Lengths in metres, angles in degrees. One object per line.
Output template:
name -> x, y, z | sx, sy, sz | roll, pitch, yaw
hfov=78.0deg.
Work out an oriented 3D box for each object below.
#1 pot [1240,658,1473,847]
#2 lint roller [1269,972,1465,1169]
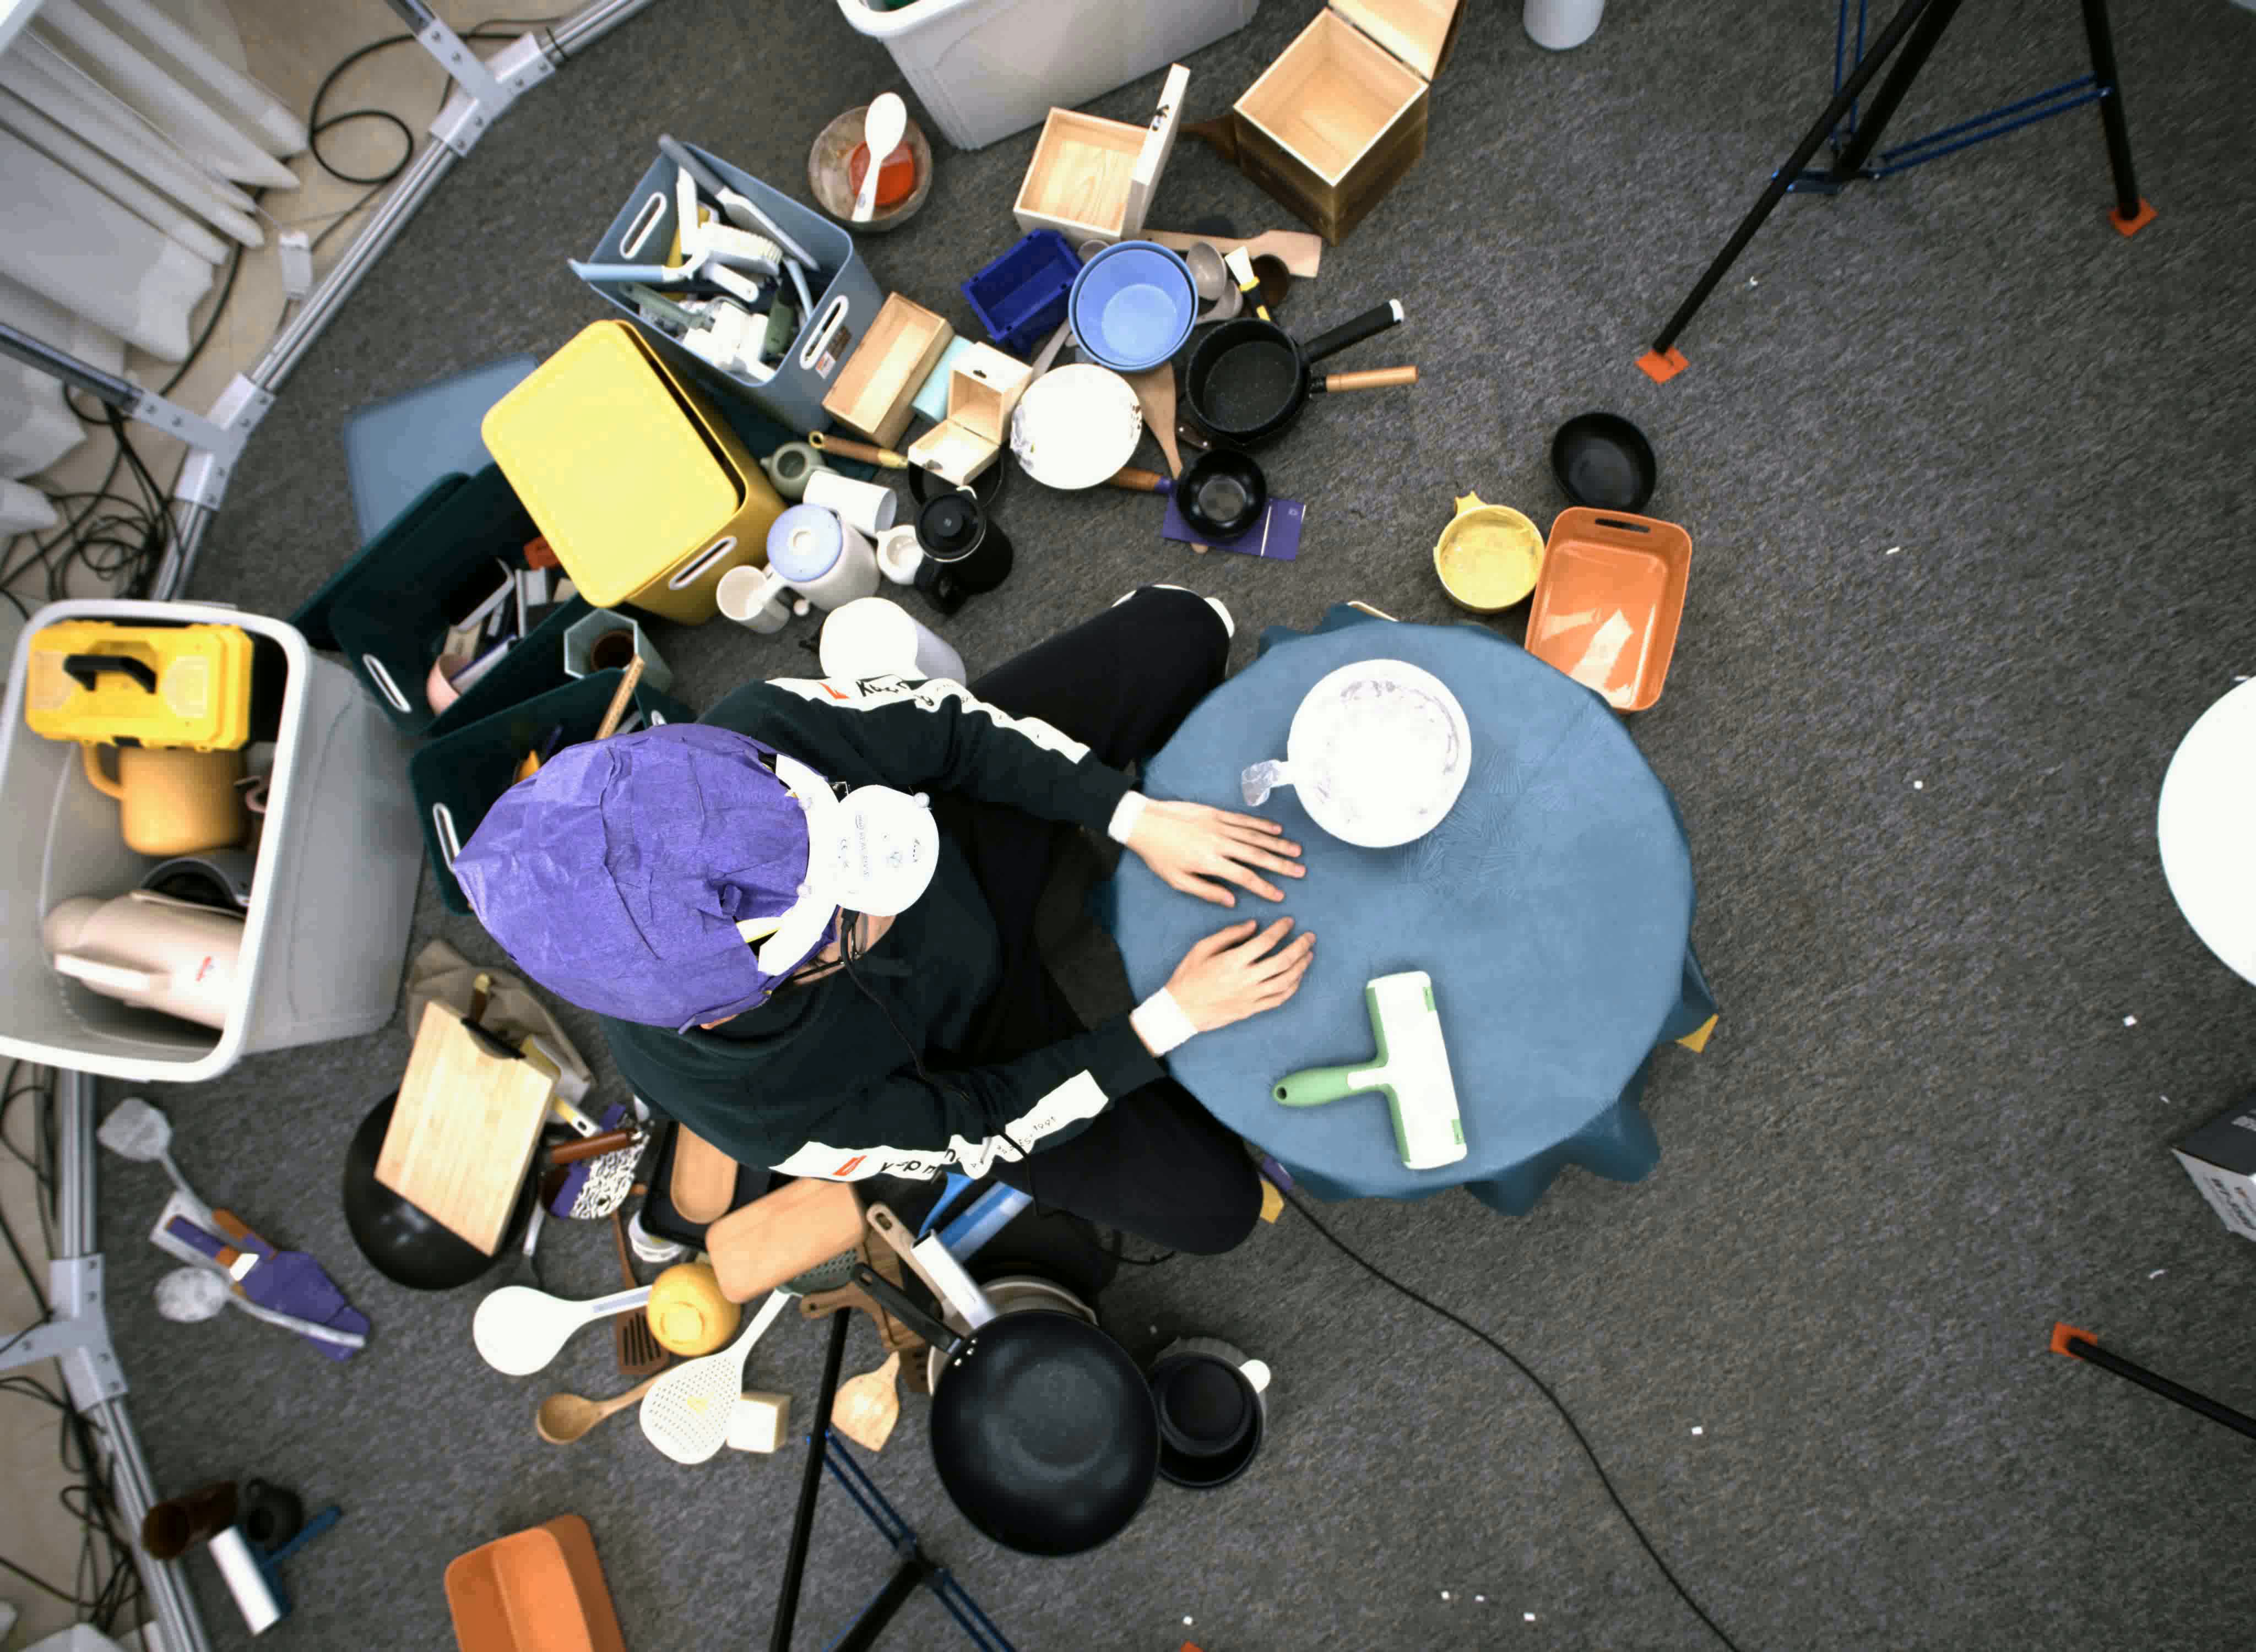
pot -> 0.228, -0.065, 1.401 | 0.235, 0.137, 0.177 | -12, 84, 9
lint roller -> 0.235, 0.258, 1.414 | 0.184, 0.082, 0.197 | -11, 85, 4
